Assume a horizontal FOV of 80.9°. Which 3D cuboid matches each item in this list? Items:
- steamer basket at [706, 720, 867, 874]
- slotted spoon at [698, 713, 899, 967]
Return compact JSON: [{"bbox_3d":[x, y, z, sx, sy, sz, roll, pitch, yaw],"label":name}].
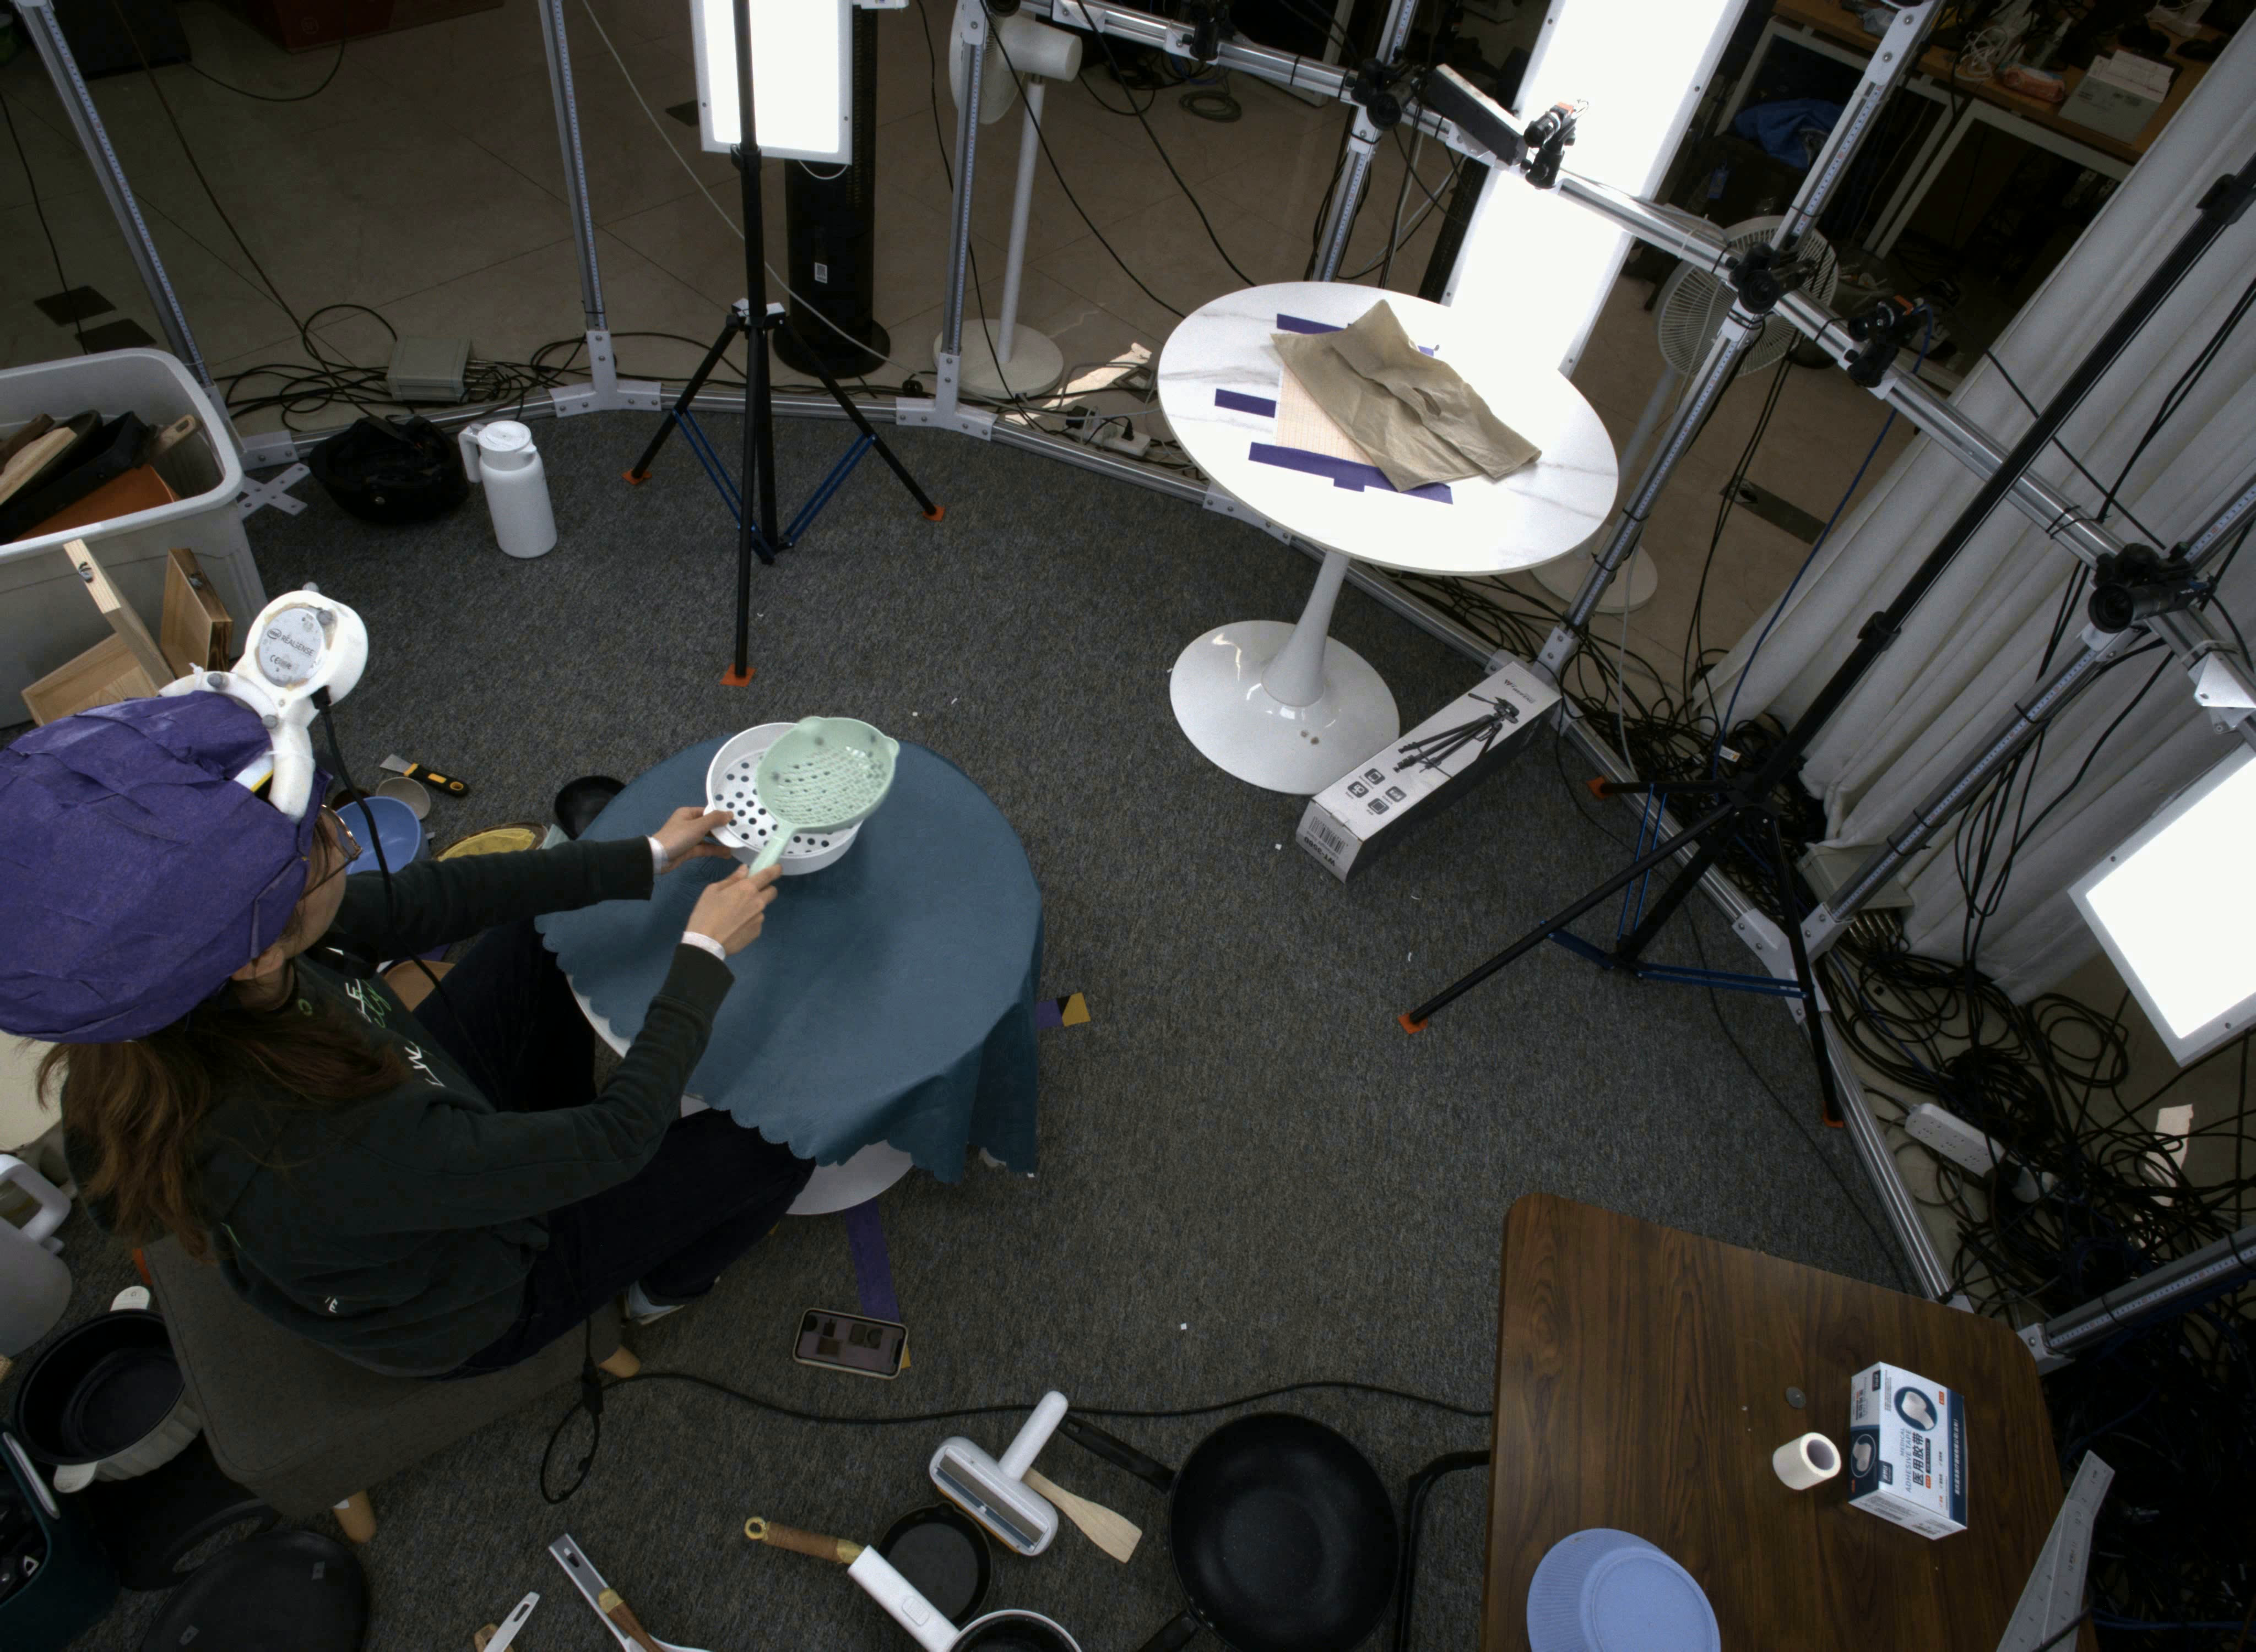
[{"bbox_3d":[-0.434,-0.036,1.657,0.200,0.070,0.231,46,55,9],"label":"steamer basket"},{"bbox_3d":[-0.399,0.010,1.510,0.165,0.078,0.356,17,48,15],"label":"slotted spoon"}]
